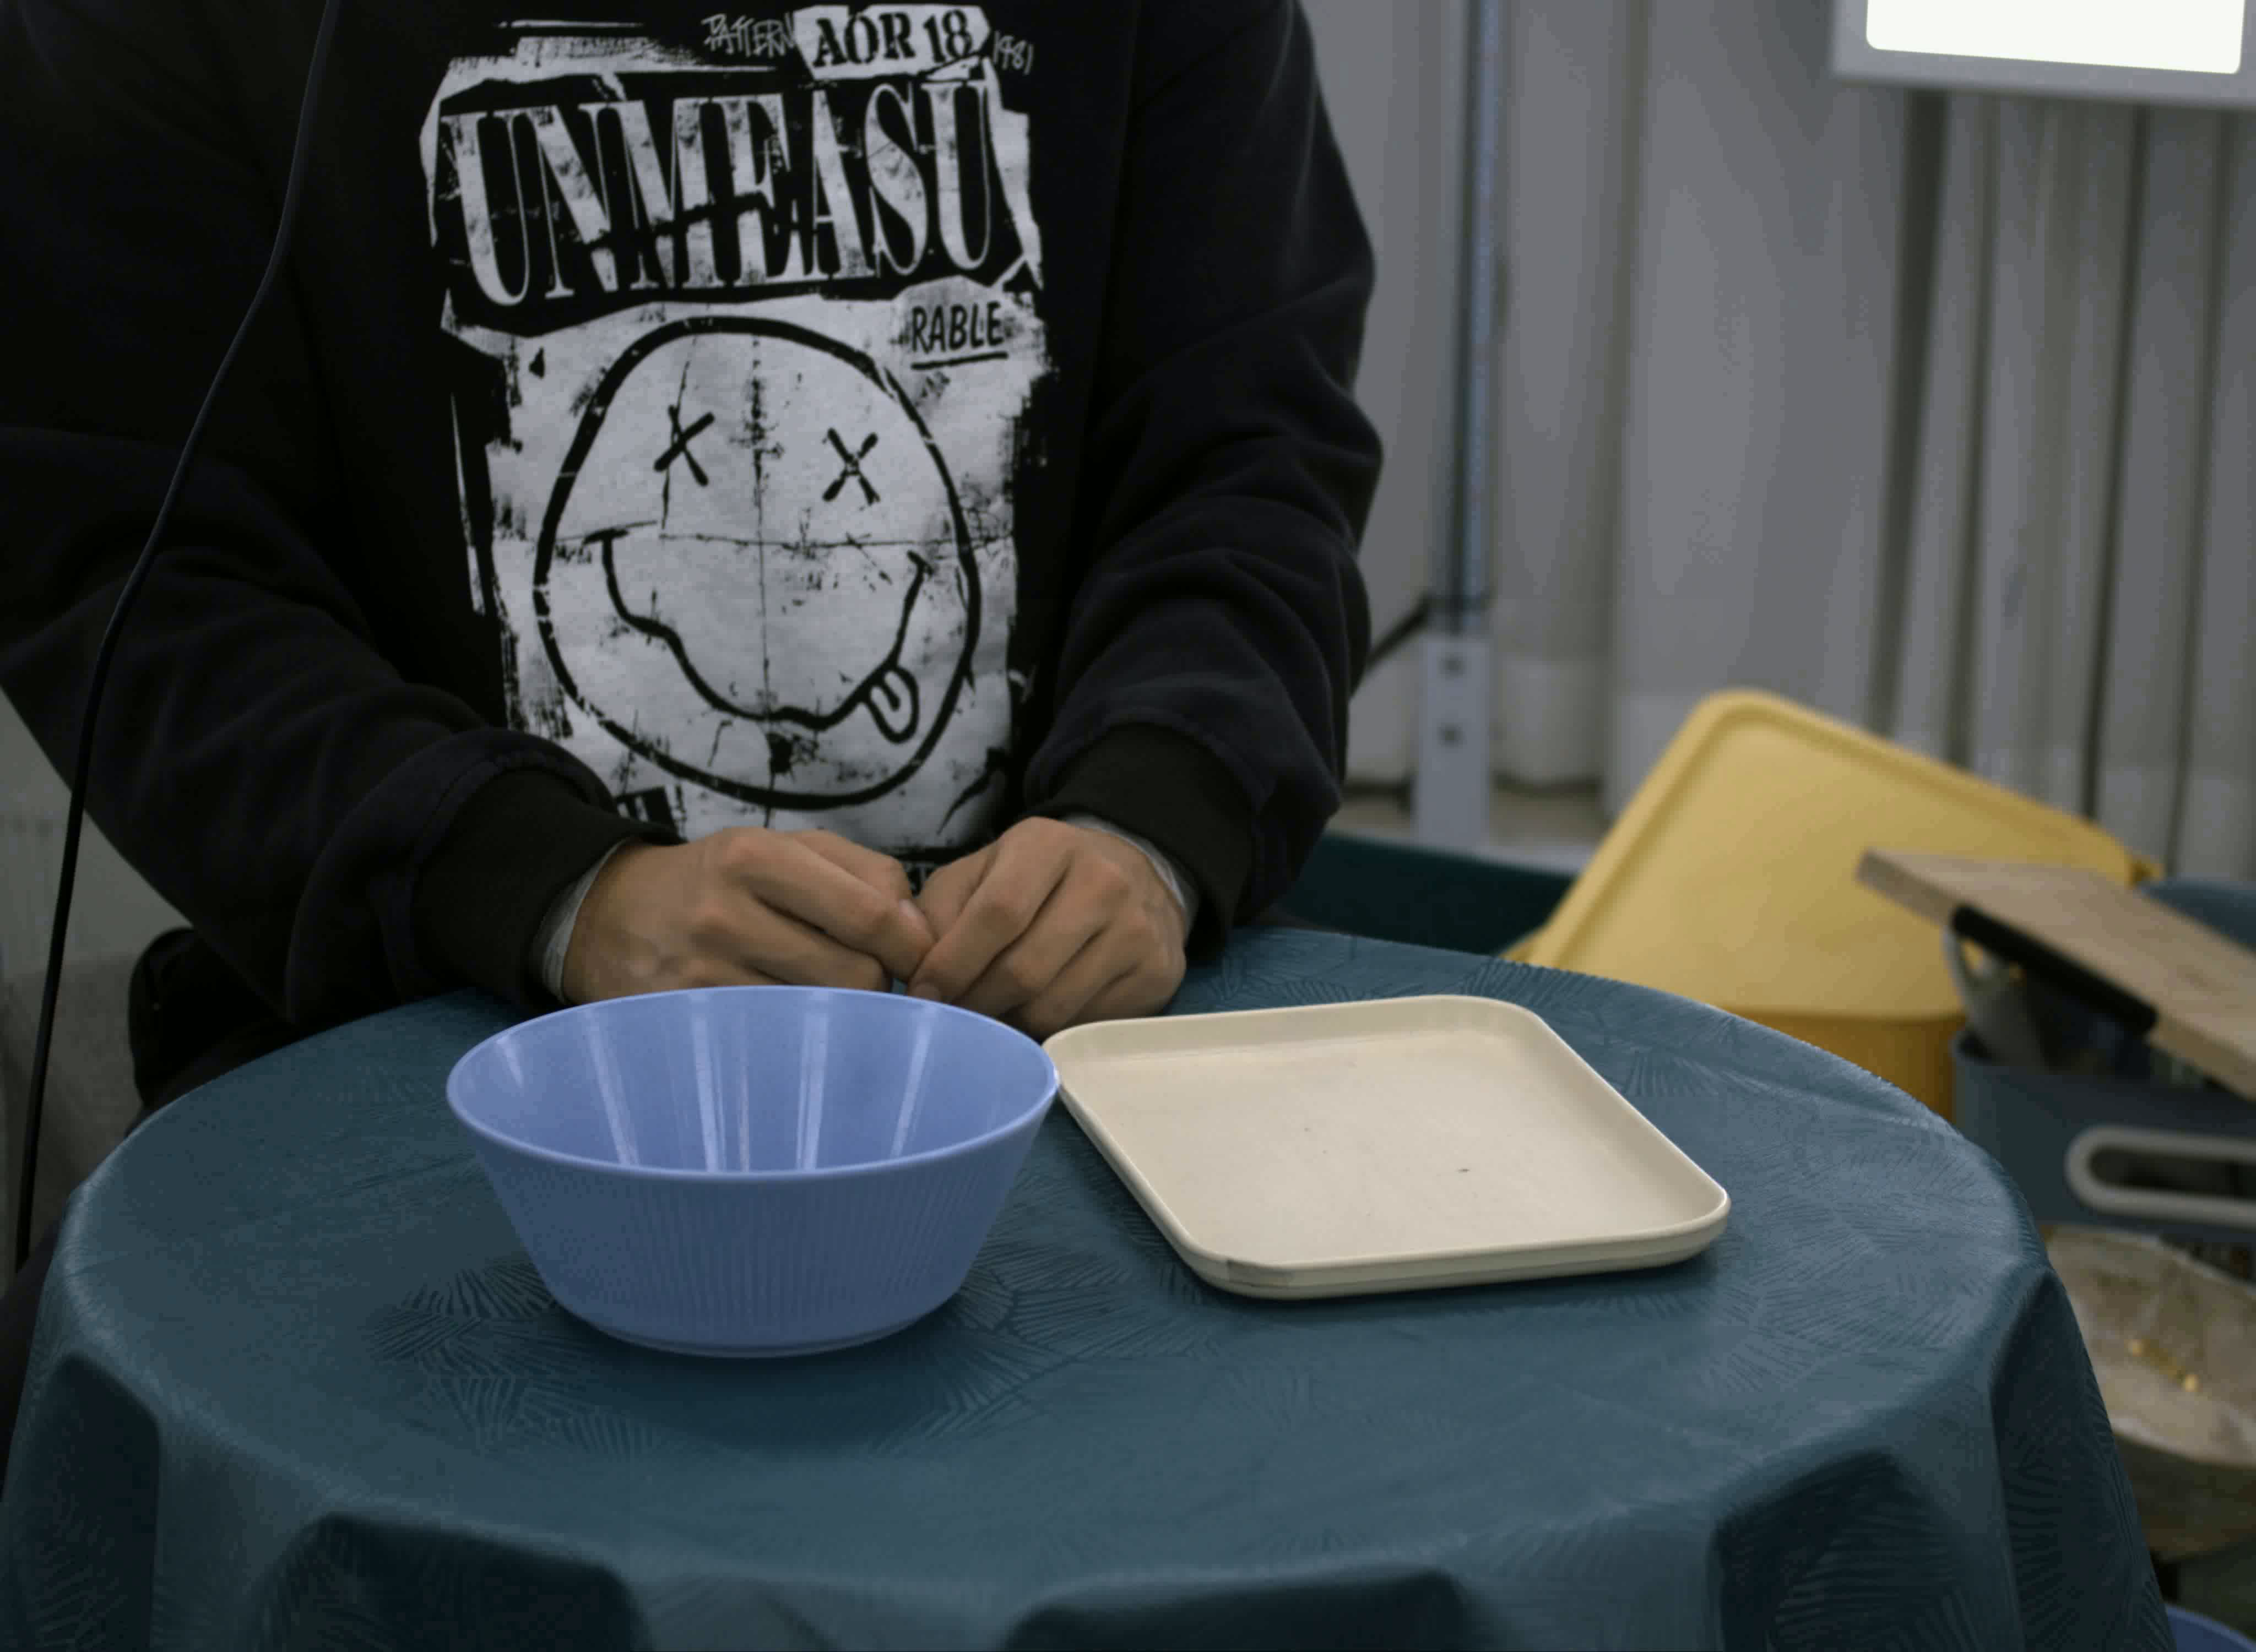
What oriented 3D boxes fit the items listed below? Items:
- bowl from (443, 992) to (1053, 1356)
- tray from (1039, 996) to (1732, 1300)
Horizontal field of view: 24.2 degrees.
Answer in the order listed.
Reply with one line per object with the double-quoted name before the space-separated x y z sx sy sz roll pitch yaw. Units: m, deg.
"bowl" -0.110 0.103 1.526 0.175 0.071 0.175 2 15 0
"tray" 0.076 0.099 1.645 0.171 0.017 0.237 -3 16 -14
